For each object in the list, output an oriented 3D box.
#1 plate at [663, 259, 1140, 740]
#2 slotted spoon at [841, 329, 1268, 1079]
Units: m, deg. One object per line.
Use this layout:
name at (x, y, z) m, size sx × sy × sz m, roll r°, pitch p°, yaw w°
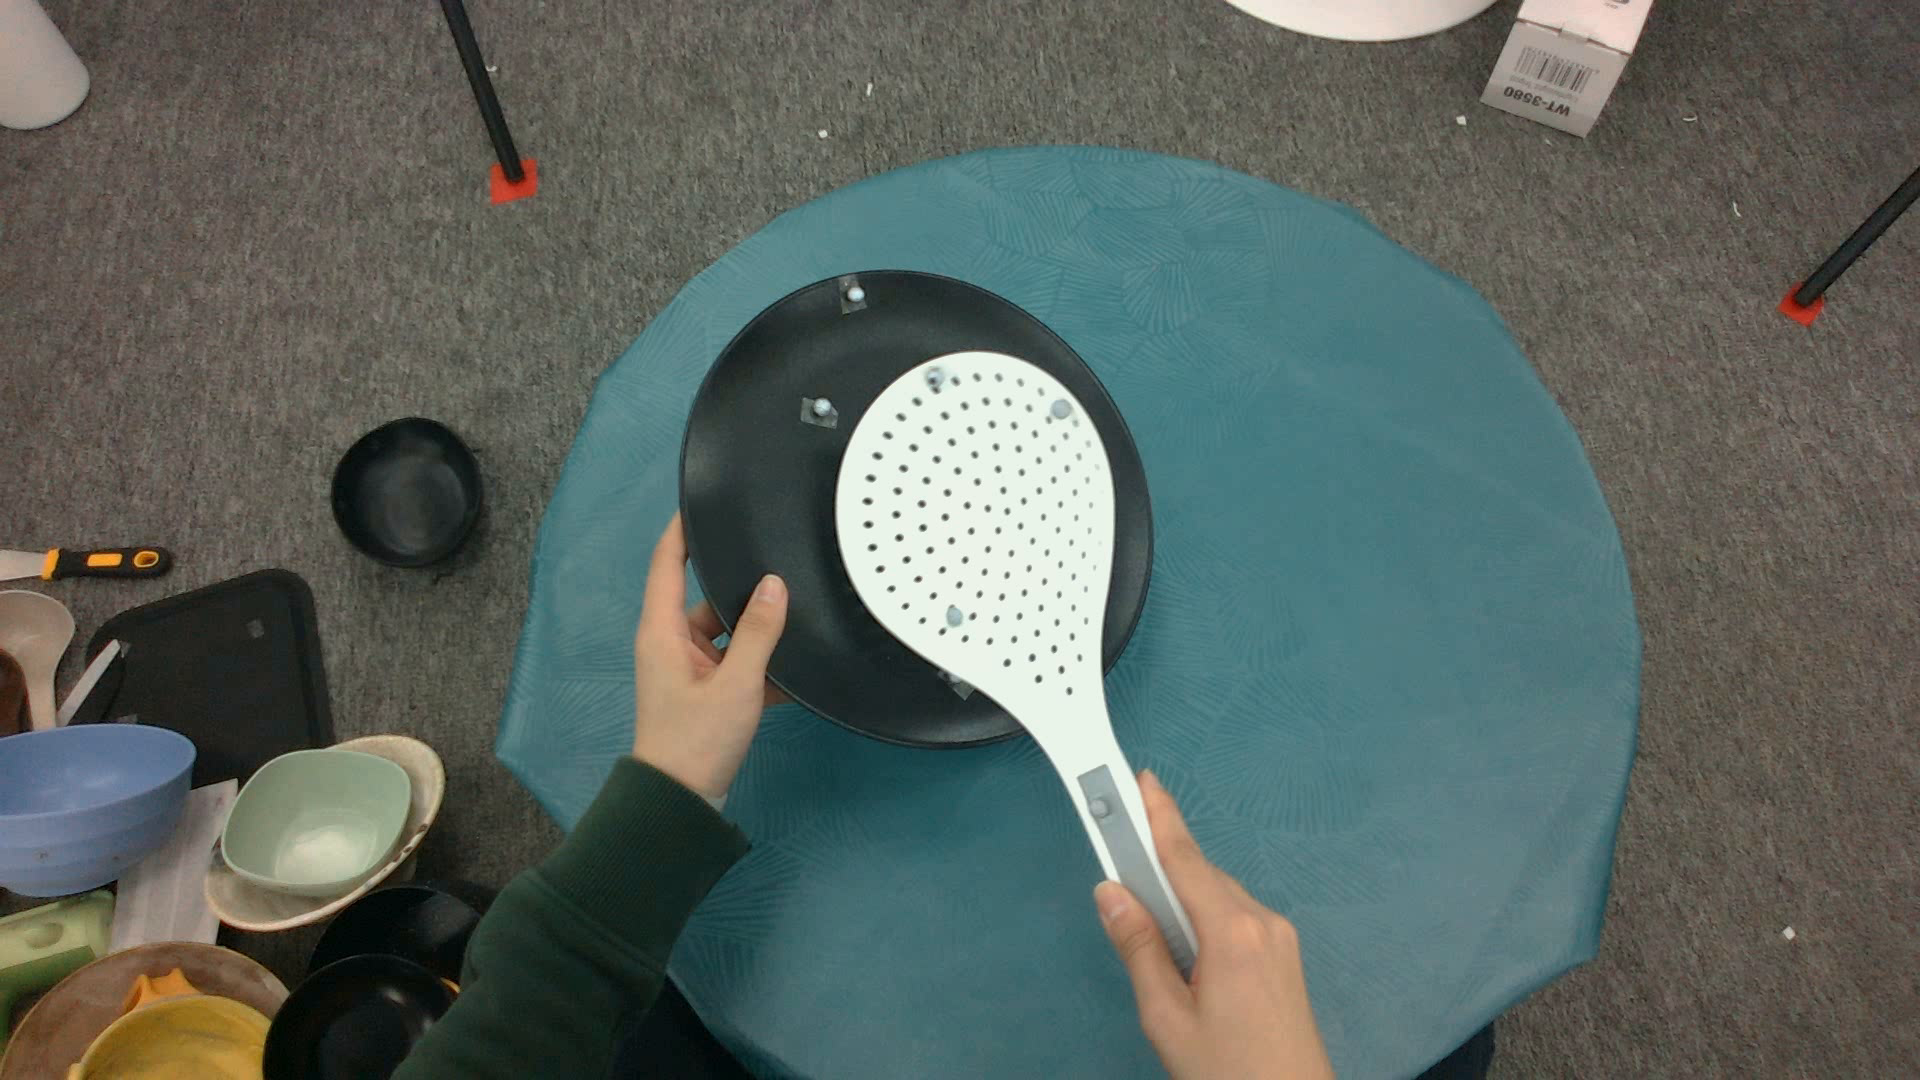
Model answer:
plate at (-0.024, -0.023, 0.671) m, size 0.245 × 0.023 × 0.245 m, roll 7°, pitch 70°, yaw -21°
slotted spoon at (0.050, 0.074, 0.575) m, size 0.135 × 0.046 × 0.350 m, roll -29°, pitch 71°, yaw 26°
